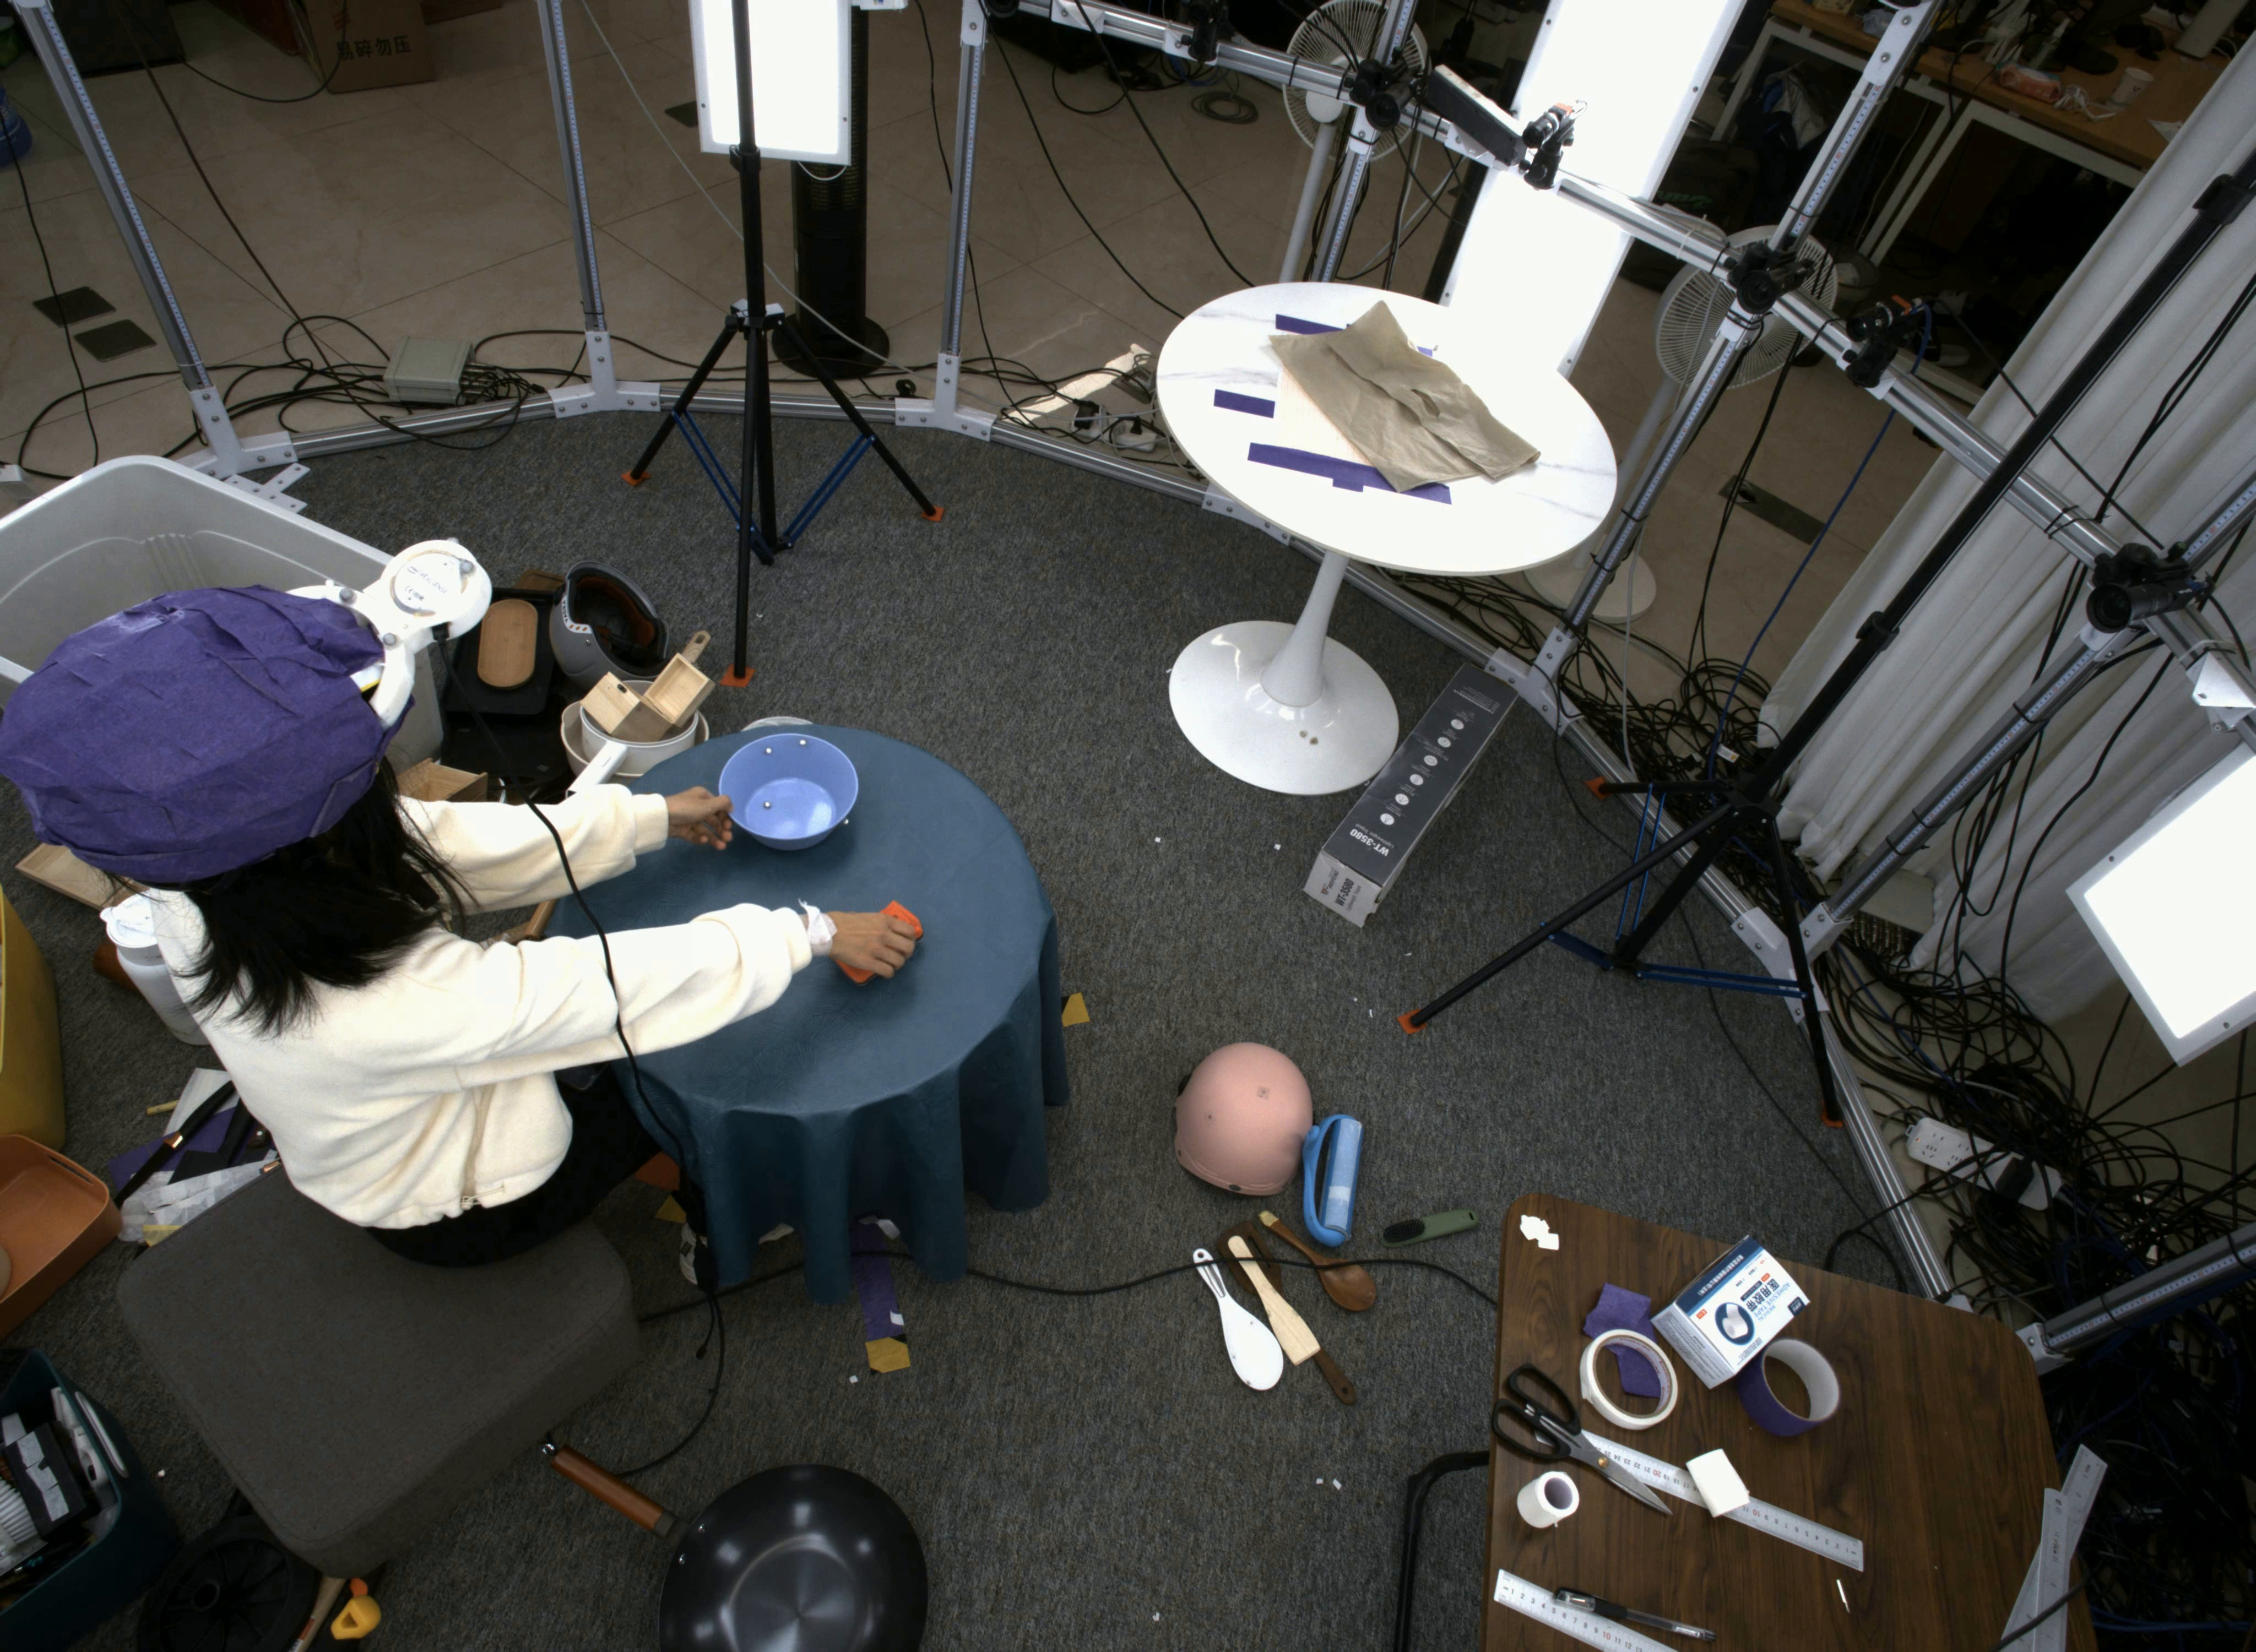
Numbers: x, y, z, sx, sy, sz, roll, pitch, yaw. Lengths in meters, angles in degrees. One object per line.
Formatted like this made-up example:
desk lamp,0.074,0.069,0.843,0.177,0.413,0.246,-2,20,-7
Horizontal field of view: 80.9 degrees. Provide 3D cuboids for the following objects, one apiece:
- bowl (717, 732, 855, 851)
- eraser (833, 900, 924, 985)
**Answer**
bowl,-0.445,-0.035,1.692,0.176,0.071,0.173,8,53,-9
eraser,-0.310,0.142,1.614,0.057,0.023,0.108,40,64,21
